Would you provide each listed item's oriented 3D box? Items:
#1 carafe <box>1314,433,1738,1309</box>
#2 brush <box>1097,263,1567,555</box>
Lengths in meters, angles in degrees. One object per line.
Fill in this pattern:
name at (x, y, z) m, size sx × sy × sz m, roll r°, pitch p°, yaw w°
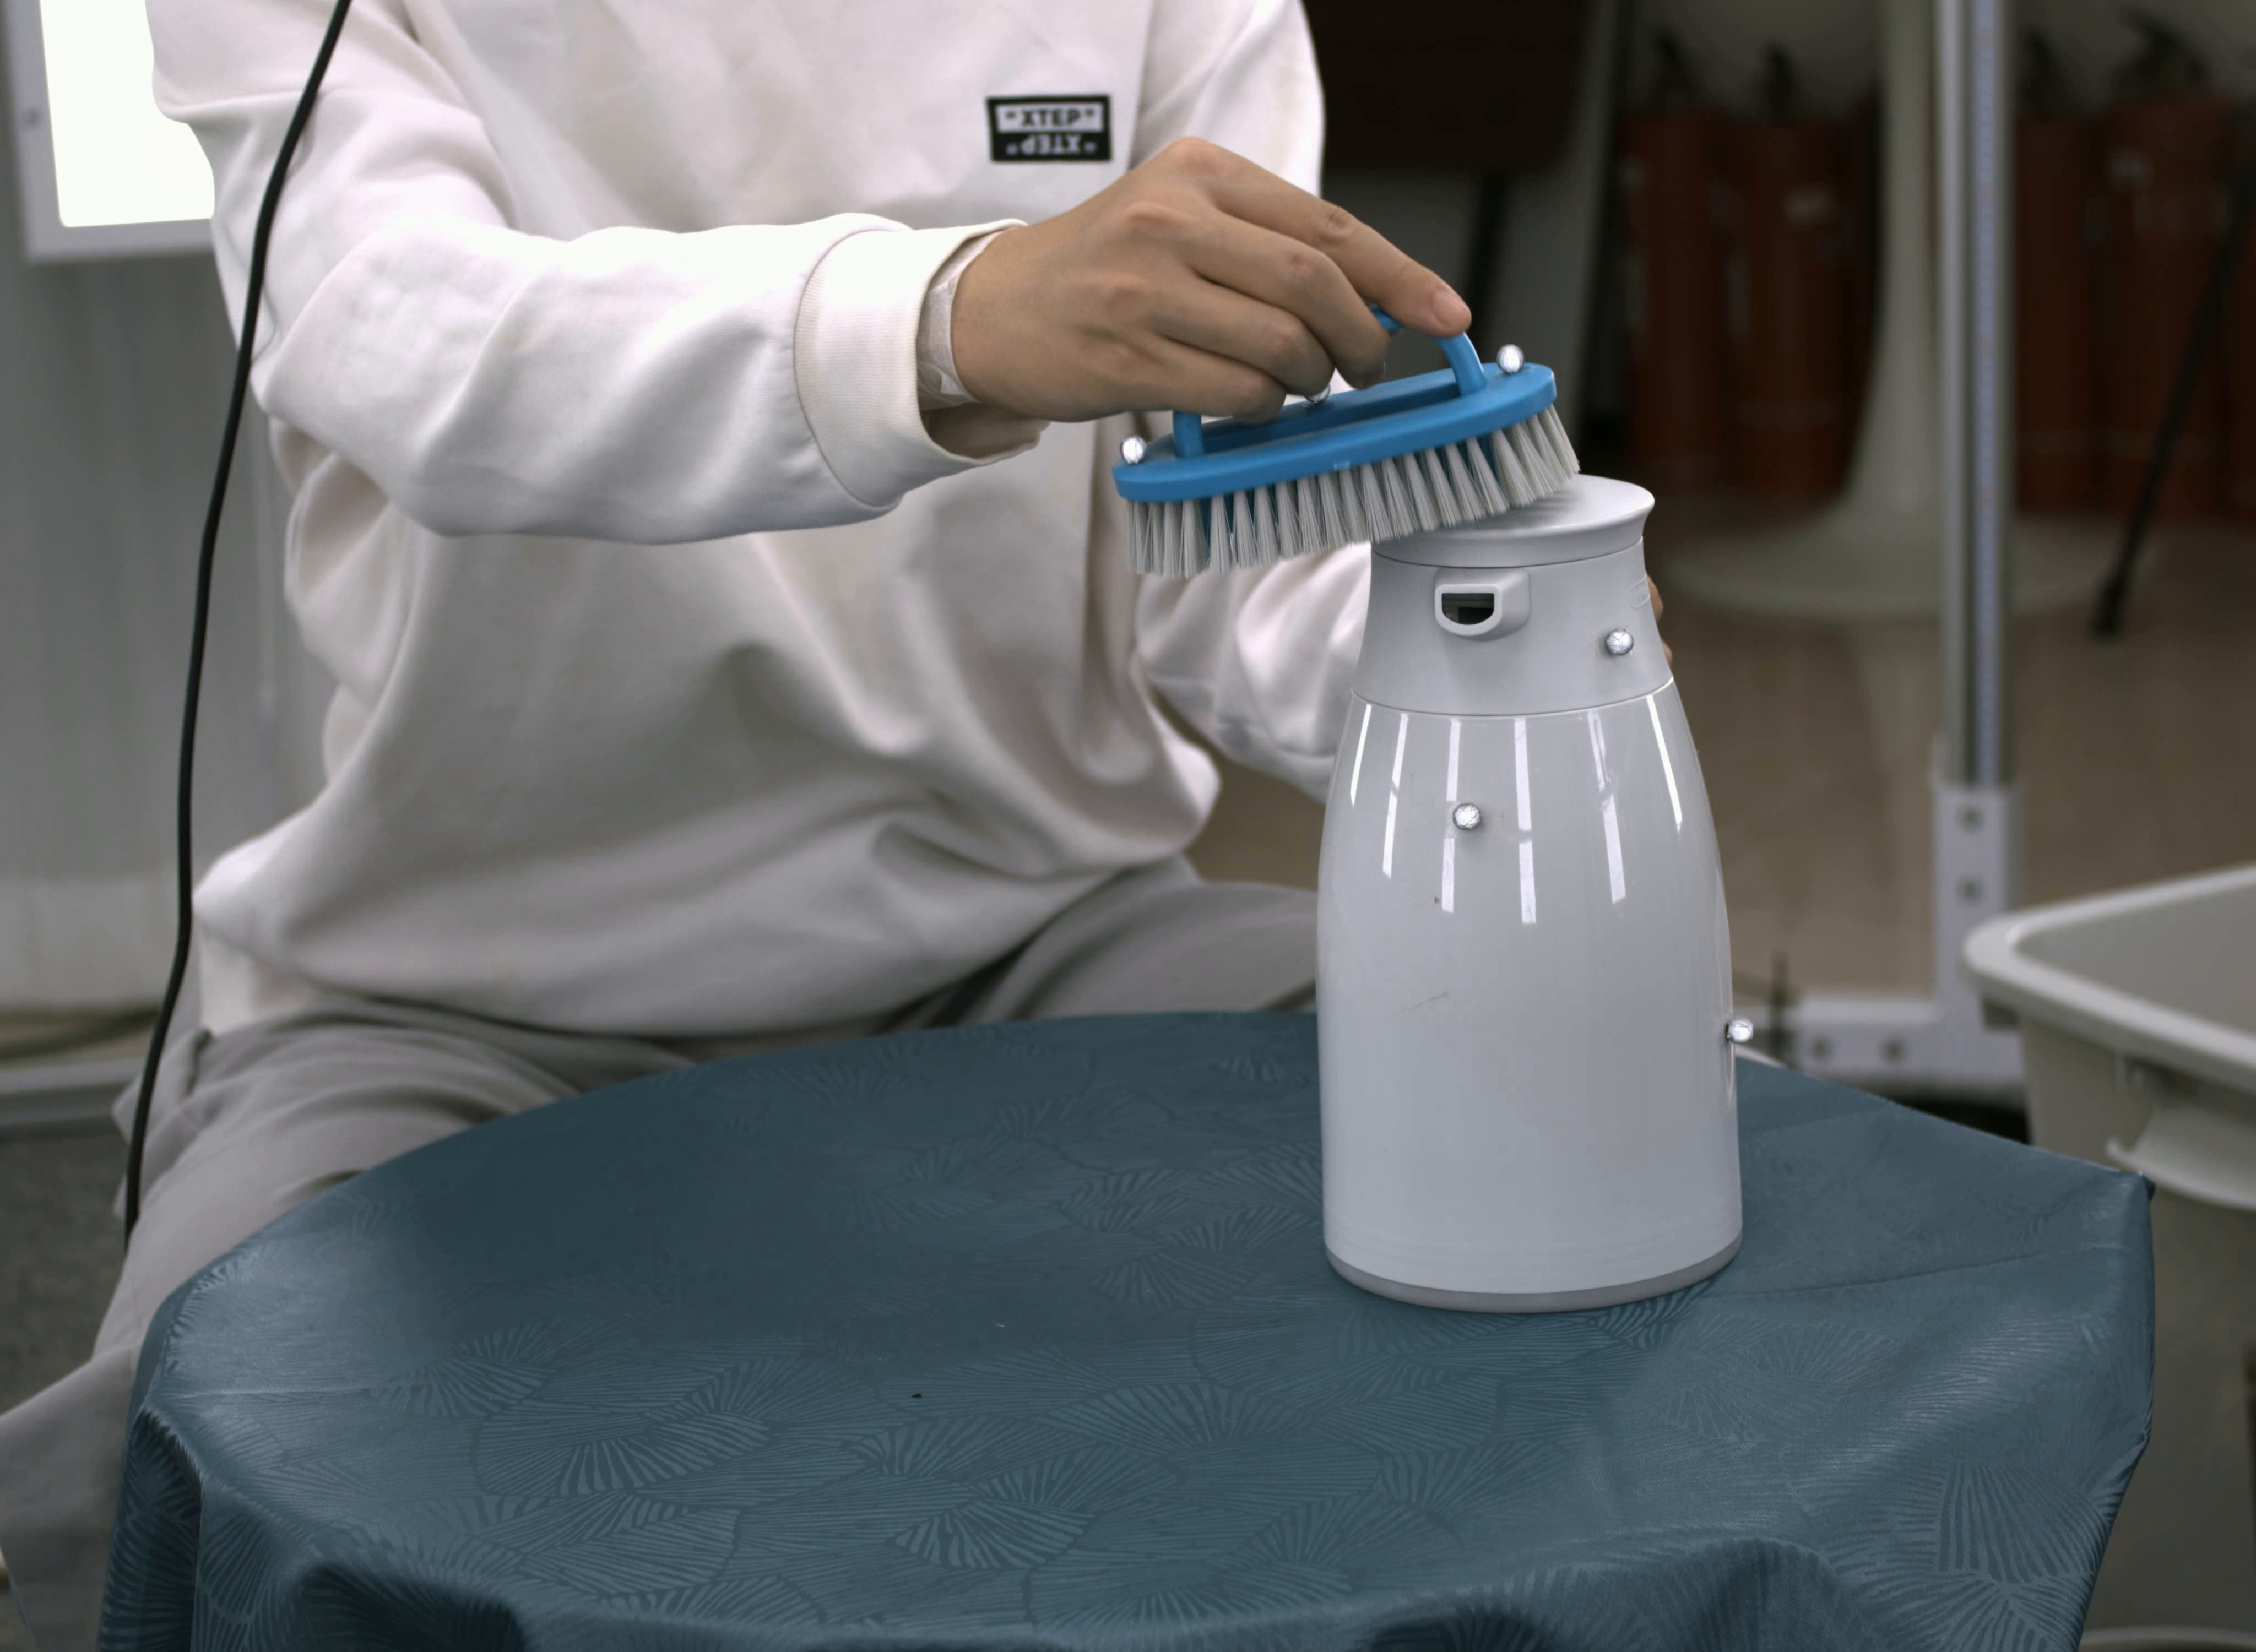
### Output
carafe at (0.124, 0.006, 1.682) m, size 0.132 × 0.251 × 0.166 m, roll 0°, pitch 12°, yaw 15°
brush at (0.058, -0.130, 1.619) m, size 0.140 × 0.064 × 0.084 m, roll -14°, pitch 17°, yaw 6°
